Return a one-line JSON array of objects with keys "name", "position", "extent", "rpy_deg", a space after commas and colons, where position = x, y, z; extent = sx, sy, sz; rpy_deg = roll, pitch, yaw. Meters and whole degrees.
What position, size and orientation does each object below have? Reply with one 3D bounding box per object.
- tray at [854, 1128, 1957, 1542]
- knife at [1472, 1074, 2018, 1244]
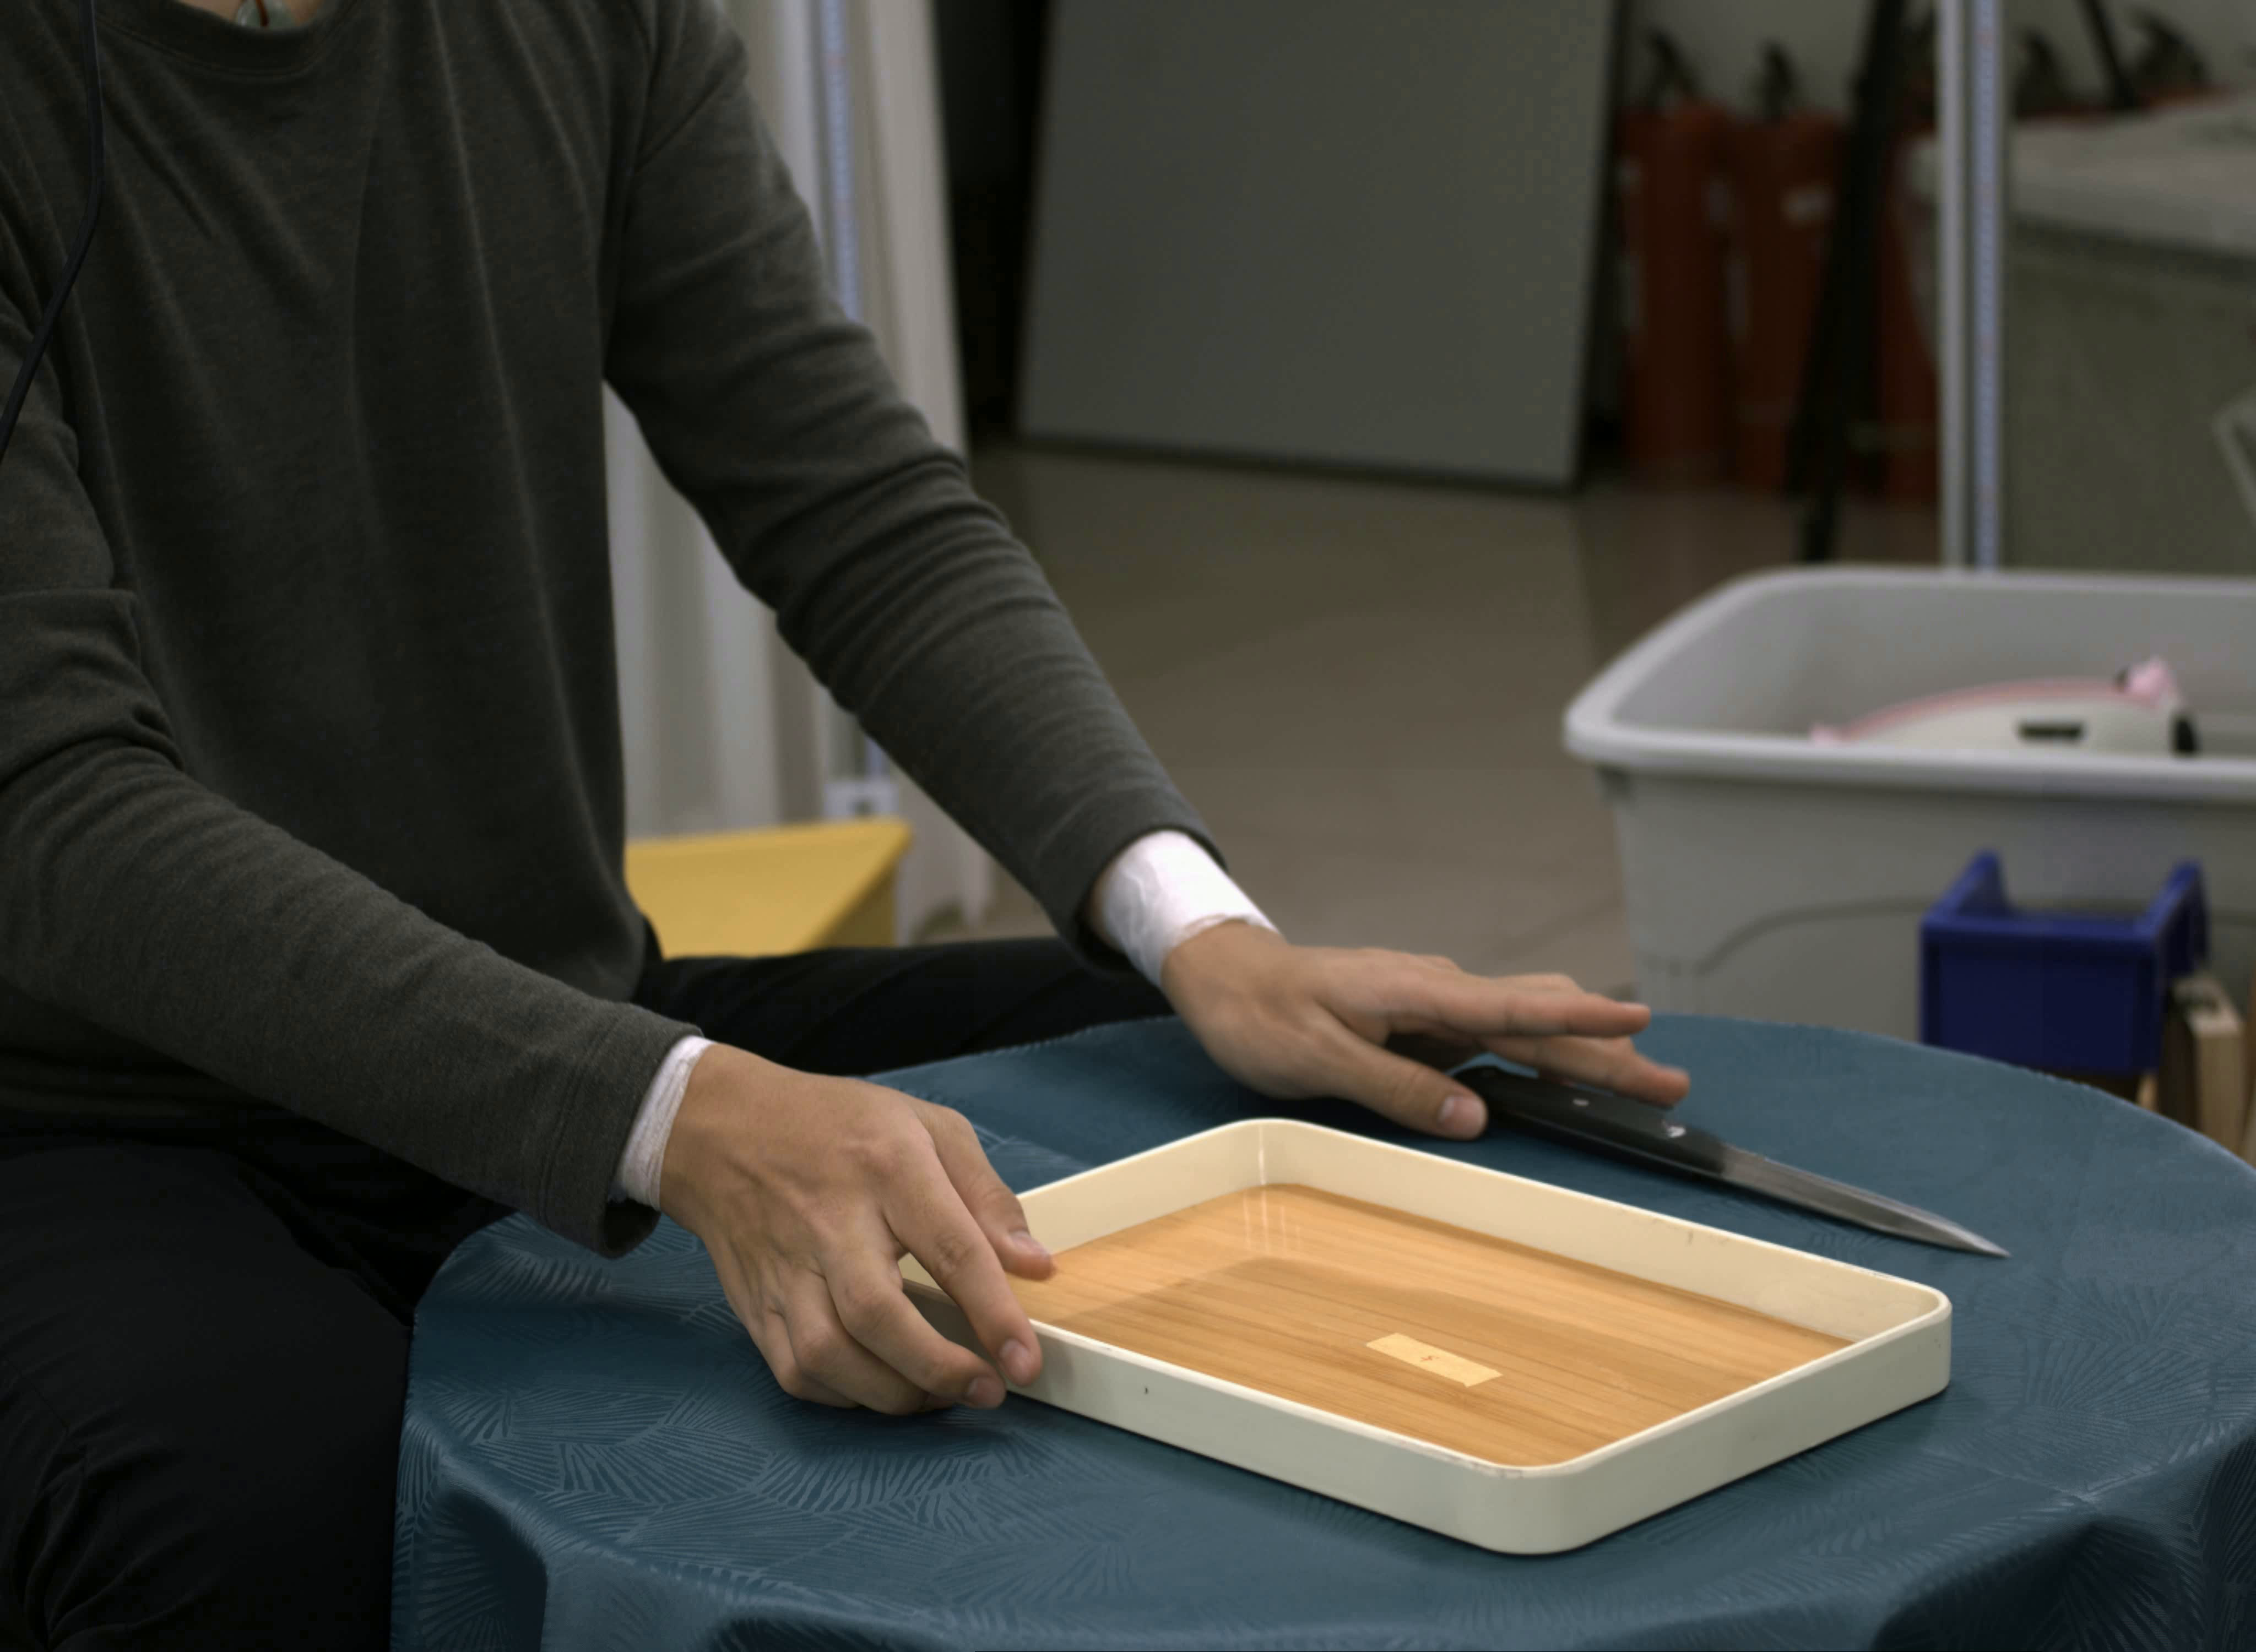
[{"name": "tray", "position": [0.078, 0.146, 1.595], "extent": [0.187, 0.028, 0.303], "rpy_deg": [-14, 16, -39]}, {"name": "knife", "position": [0.194, 0.110, 1.736], "extent": [0.024, 0.016, 0.240], "rpy_deg": [-22, 22, -35]}]
